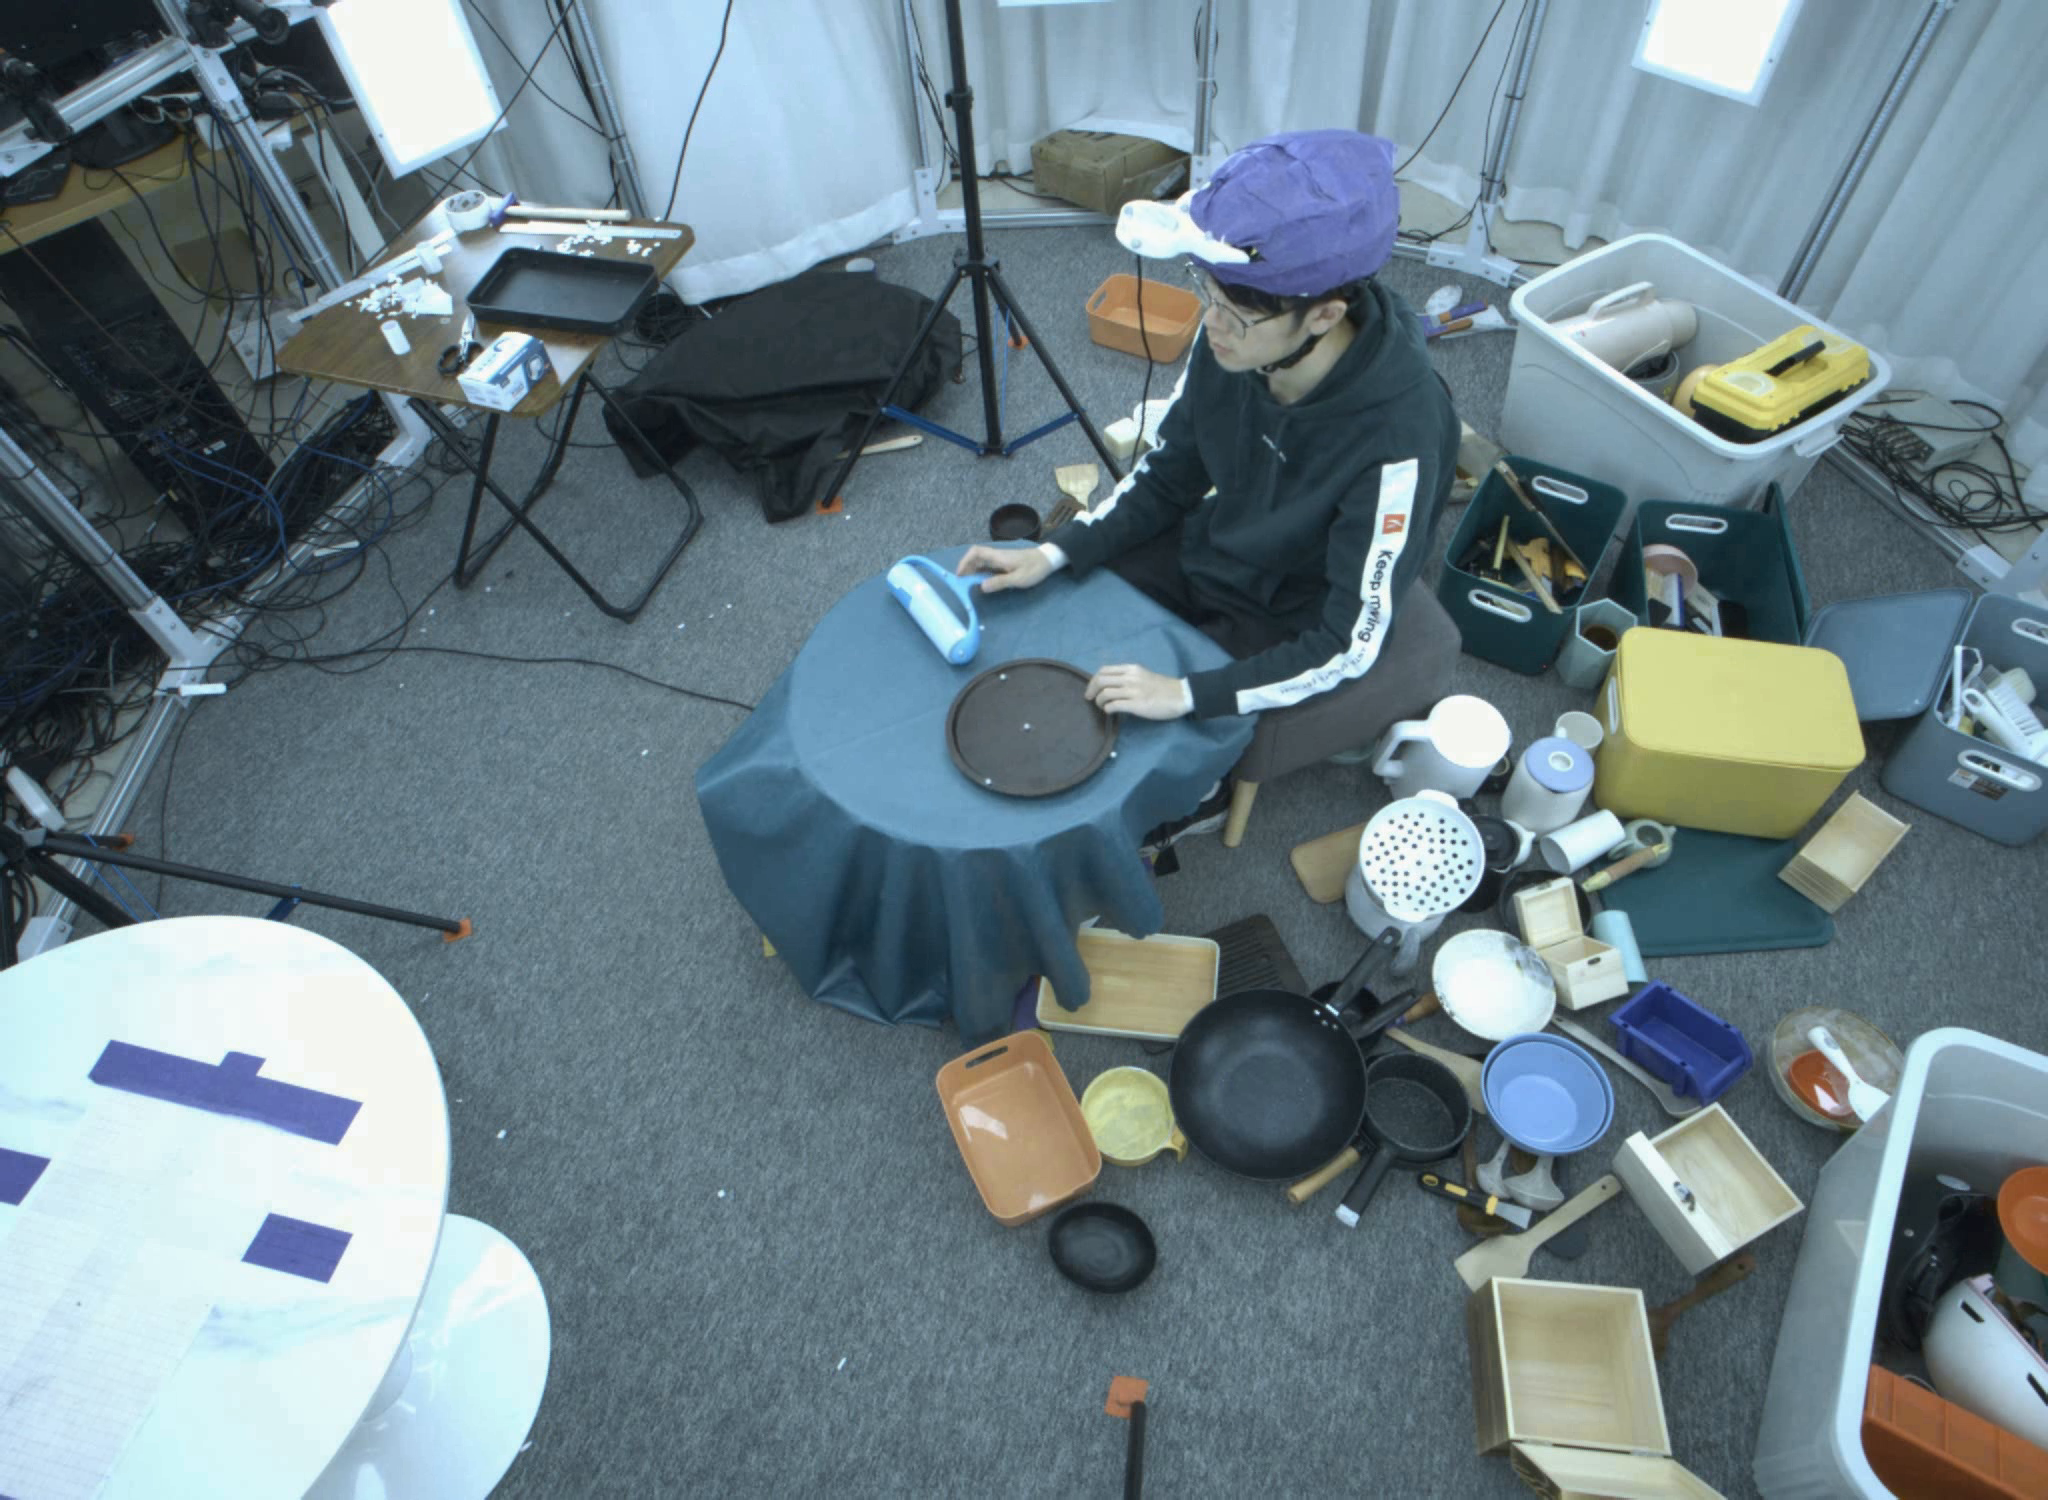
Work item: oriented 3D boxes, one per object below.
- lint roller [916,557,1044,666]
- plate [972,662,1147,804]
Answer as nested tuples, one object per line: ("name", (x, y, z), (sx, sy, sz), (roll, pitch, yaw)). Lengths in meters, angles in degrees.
("lint roller", (-0.051, -0.241, 1.921), (0.181, 0.069, 0.224), (-30, 57, -17))
("plate", (0.051, -0.026, 1.786), (0.254, 0.029, 0.252), (0, 56, 2))
